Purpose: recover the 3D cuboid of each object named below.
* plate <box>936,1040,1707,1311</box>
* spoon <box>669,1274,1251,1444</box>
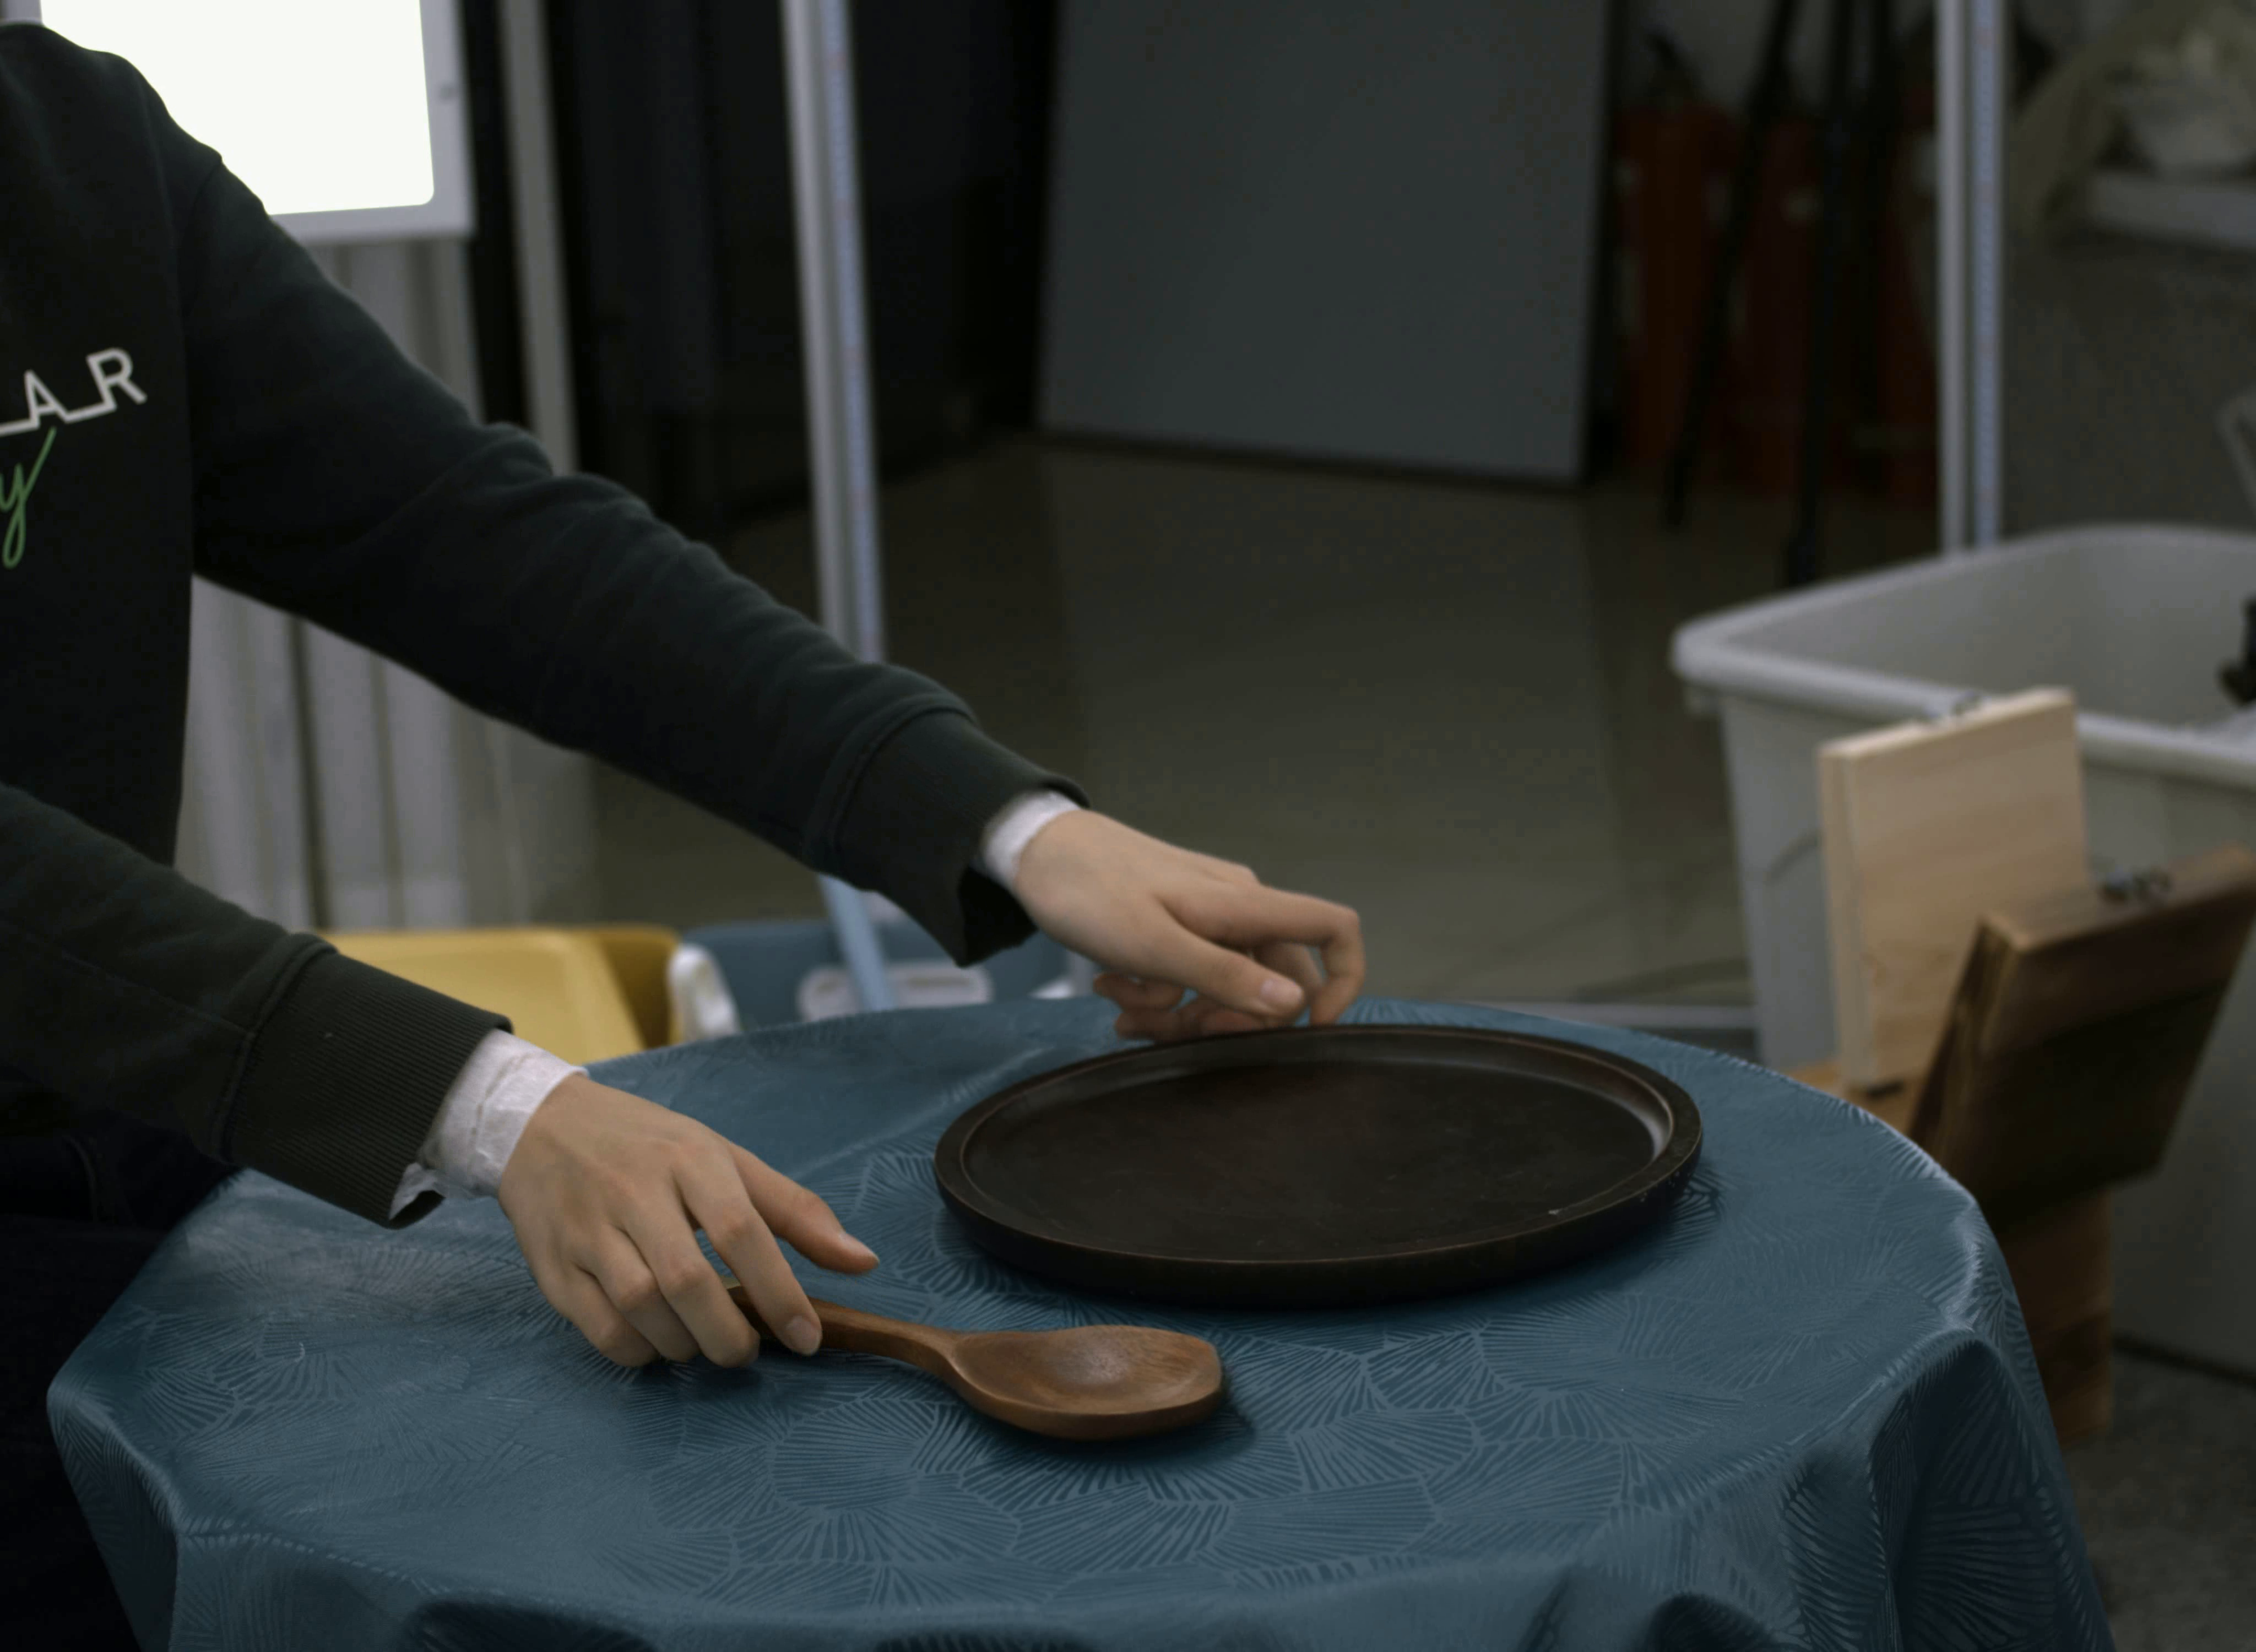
[{"bbox_3d":[0.063,0.111,1.750,0.251,0.029,0.255,-3,14,0],"label":"plate"},{"bbox_3d":[-0.055,0.157,1.605,0.217,0.017,0.074,8,18,39],"label":"spoon"}]
